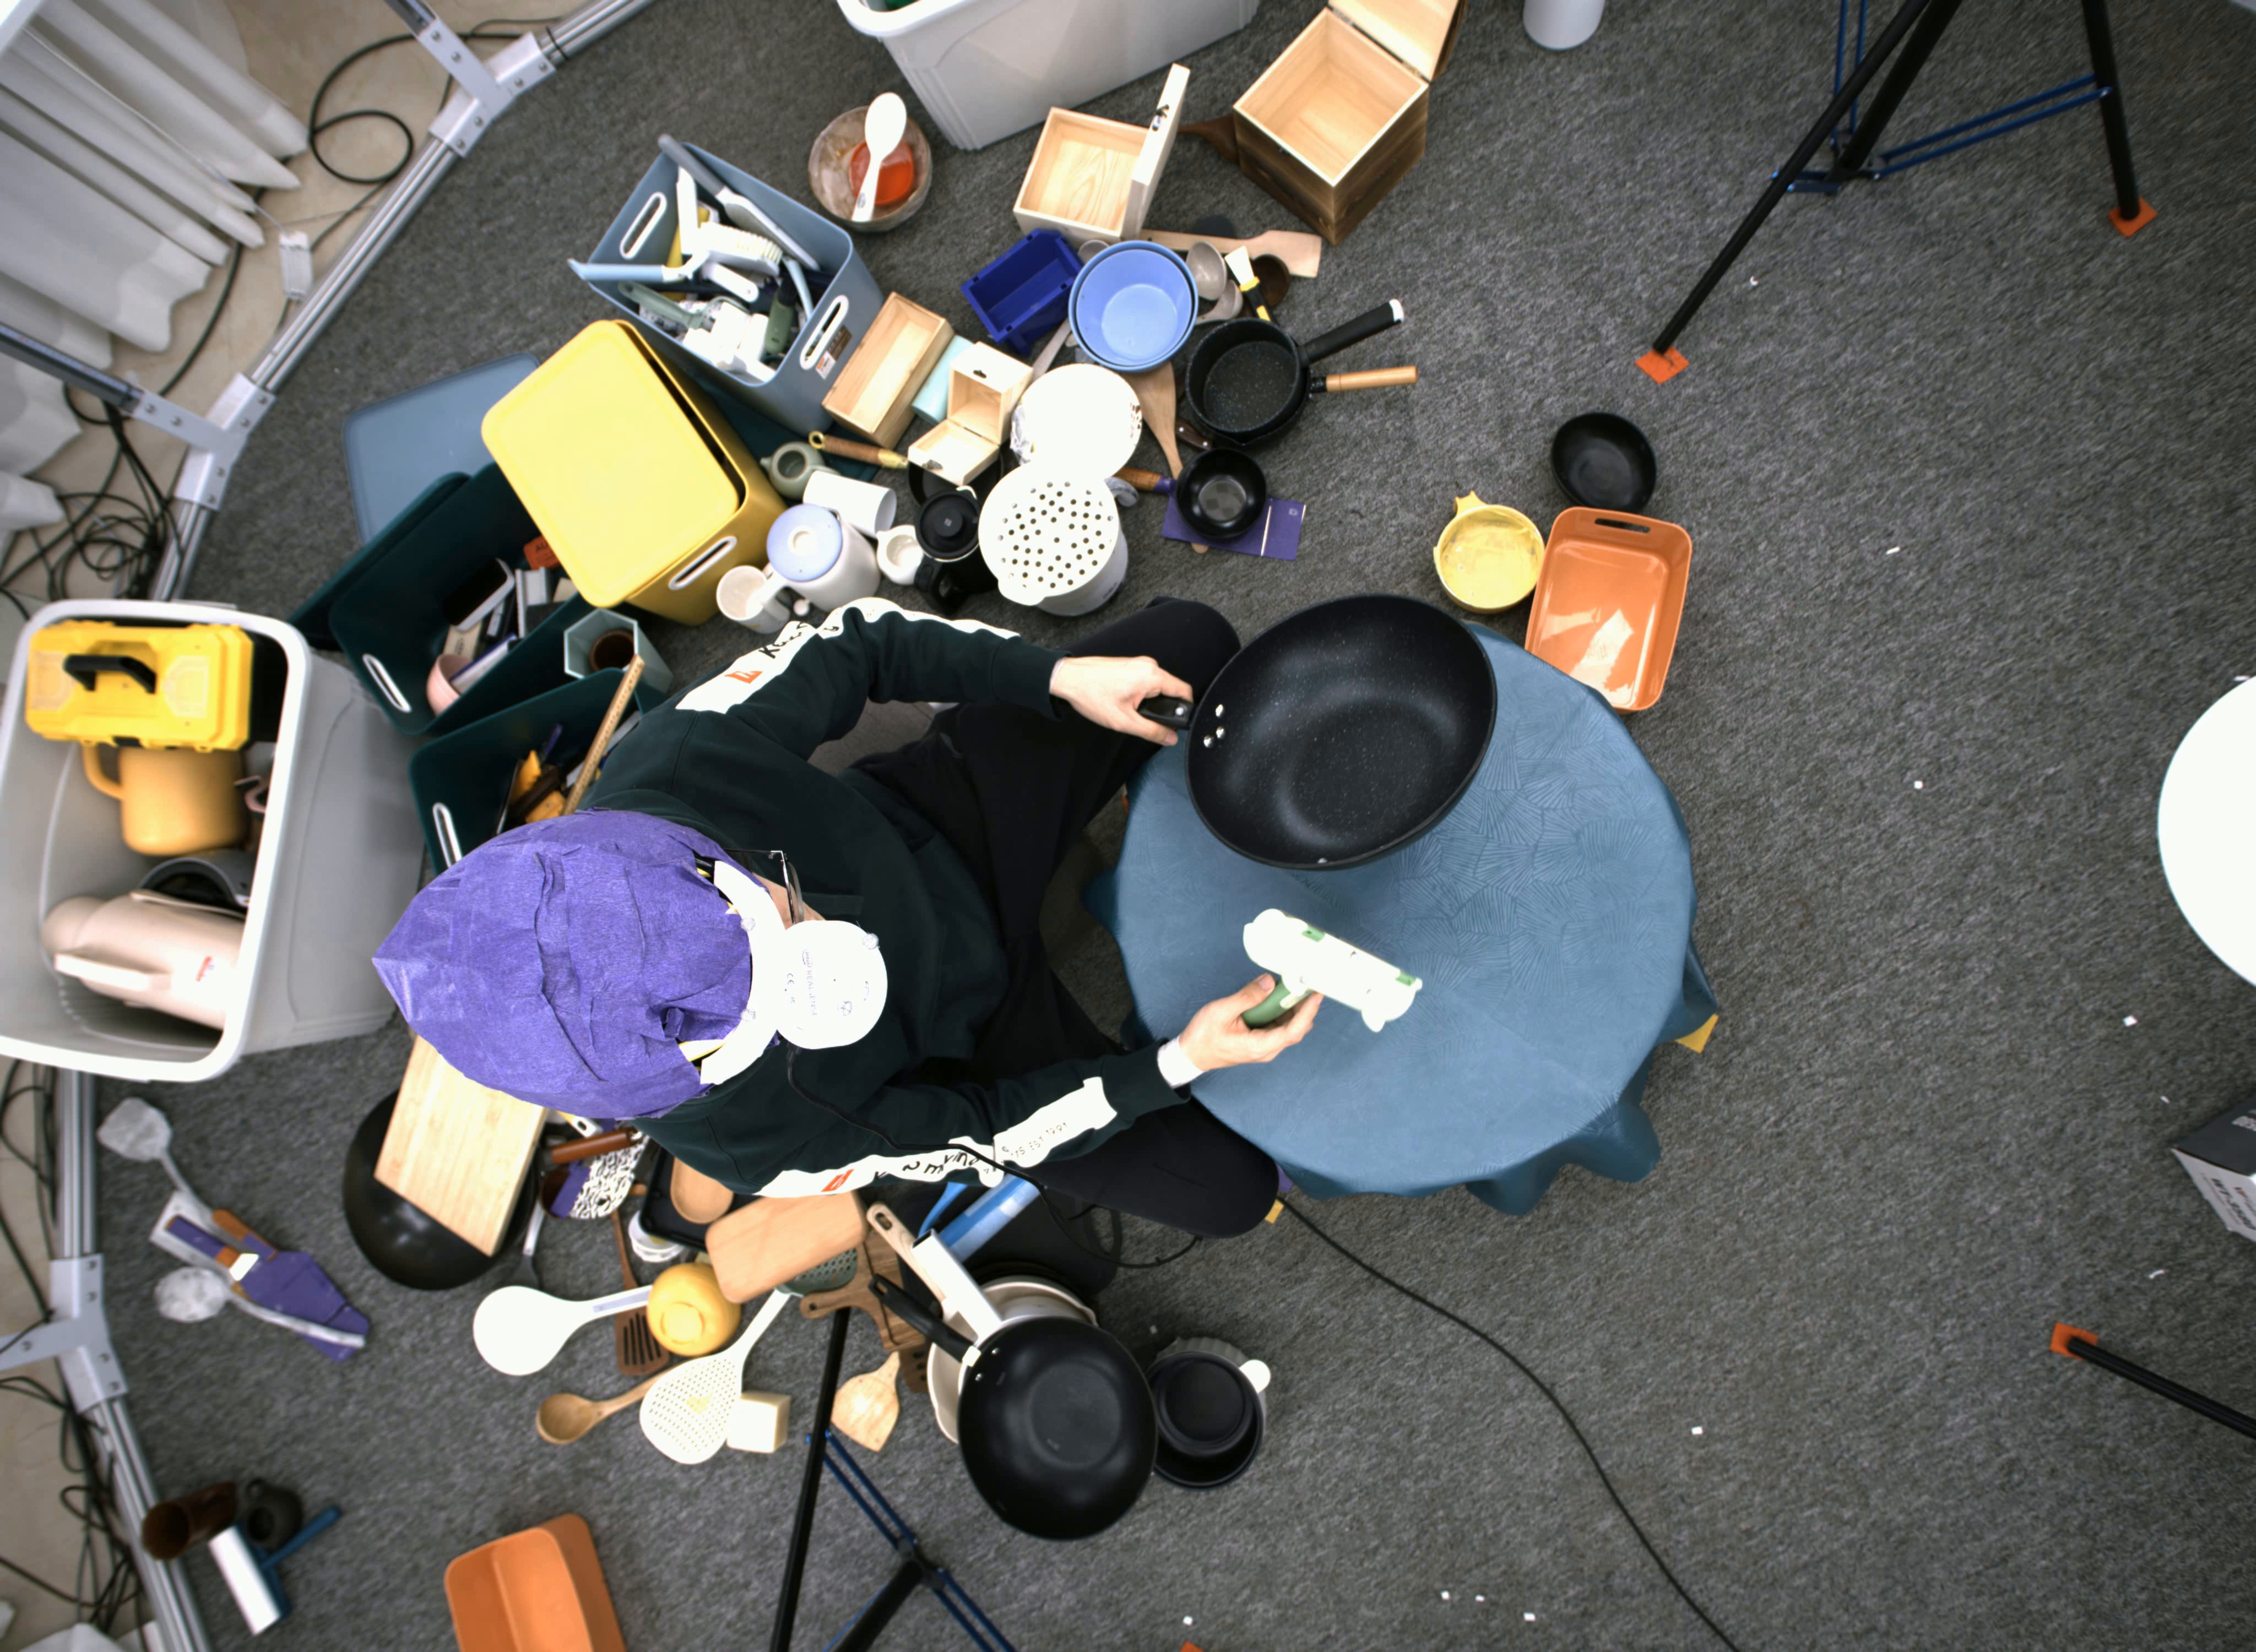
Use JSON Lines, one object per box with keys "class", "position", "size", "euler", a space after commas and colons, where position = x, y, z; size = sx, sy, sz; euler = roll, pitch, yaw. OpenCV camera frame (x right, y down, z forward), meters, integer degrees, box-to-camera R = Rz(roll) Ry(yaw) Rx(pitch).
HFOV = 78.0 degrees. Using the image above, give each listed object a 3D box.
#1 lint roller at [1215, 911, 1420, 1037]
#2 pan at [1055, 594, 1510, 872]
{"class": "lint roller", "position": [0.157, 0.172, 1.334], "size": [0.187, 0.199, 0.080], "euler": [-42, 40, 28]}
{"class": "pan", "position": [0.145, -0.093, 1.360], "size": [0.479, 0.113, 0.304], "euler": [8, 66, 33]}
